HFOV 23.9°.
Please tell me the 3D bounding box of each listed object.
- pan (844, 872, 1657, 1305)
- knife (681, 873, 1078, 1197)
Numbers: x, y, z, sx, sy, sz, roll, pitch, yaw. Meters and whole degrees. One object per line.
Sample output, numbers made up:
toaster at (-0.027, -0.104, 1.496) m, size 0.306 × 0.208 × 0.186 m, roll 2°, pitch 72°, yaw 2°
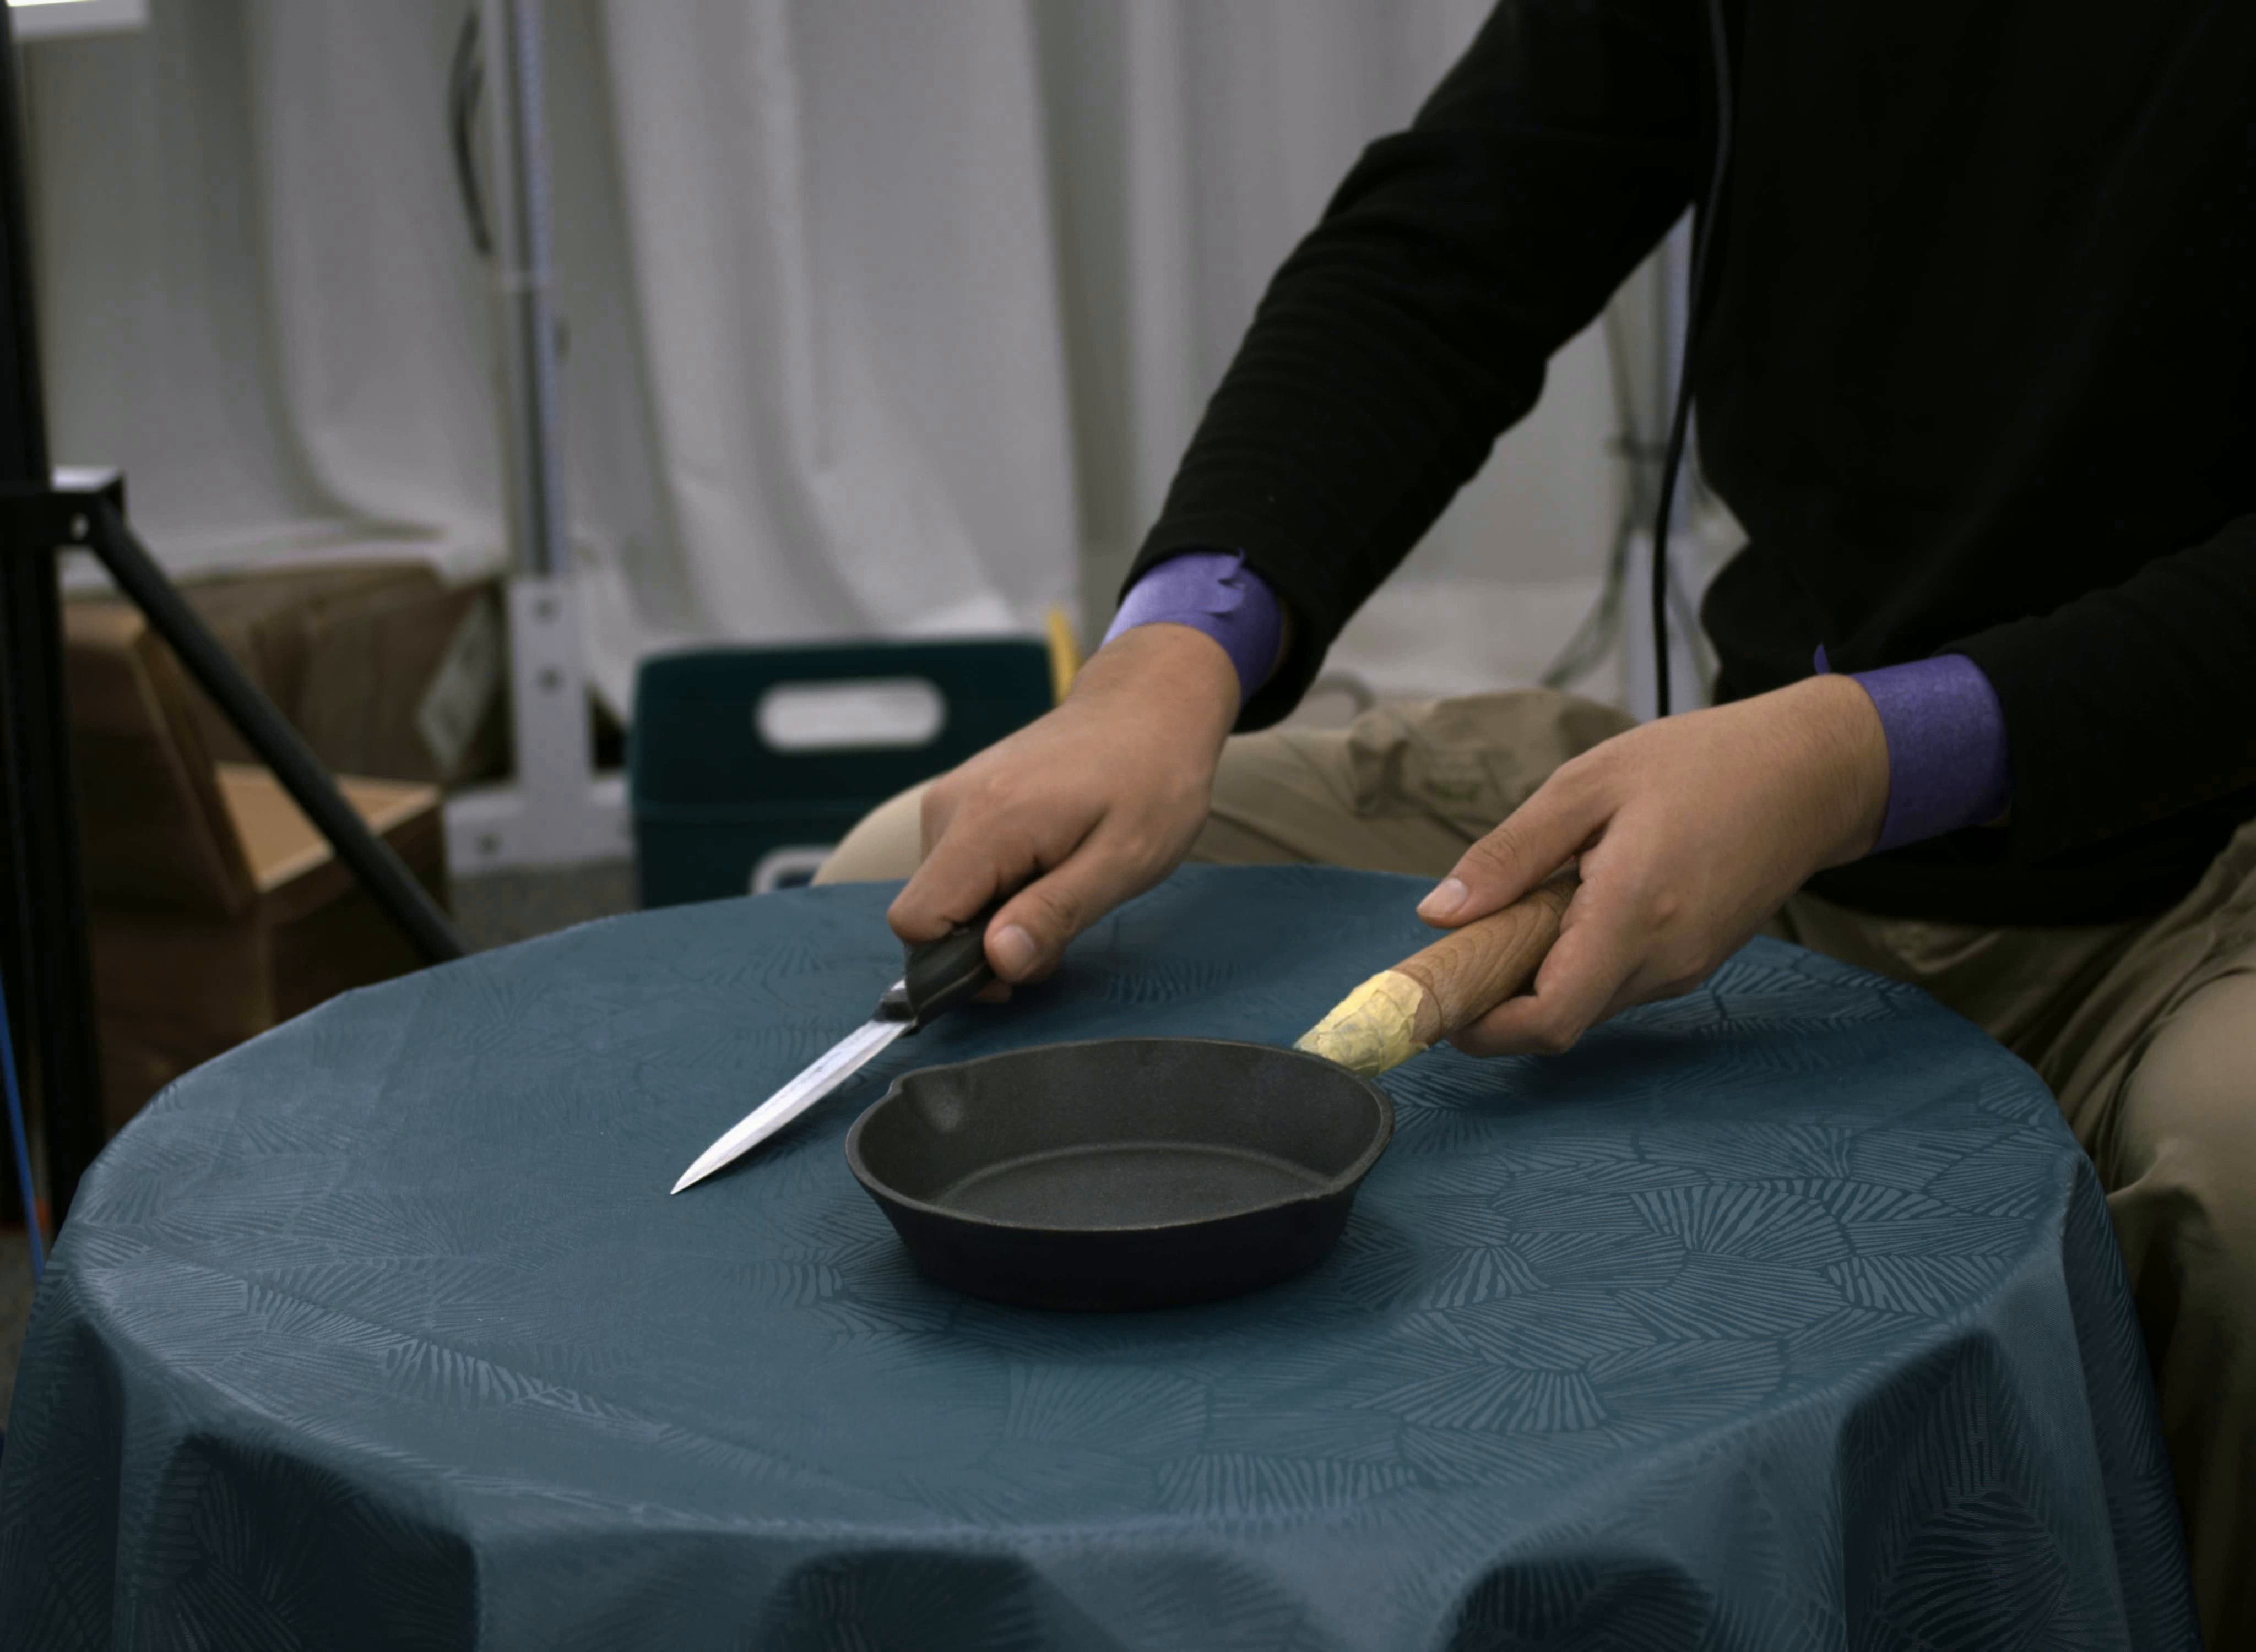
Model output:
pan at (0.056, 0.074, 1.567) m, size 0.173 × 0.049 × 0.317 m, roll 13°, pitch 23°, yaw 43°
knife at (-0.079, 0.065, 1.666) m, size 0.025 × 0.016 × 0.235 m, roll -7°, pitch 18°, yaw 33°
